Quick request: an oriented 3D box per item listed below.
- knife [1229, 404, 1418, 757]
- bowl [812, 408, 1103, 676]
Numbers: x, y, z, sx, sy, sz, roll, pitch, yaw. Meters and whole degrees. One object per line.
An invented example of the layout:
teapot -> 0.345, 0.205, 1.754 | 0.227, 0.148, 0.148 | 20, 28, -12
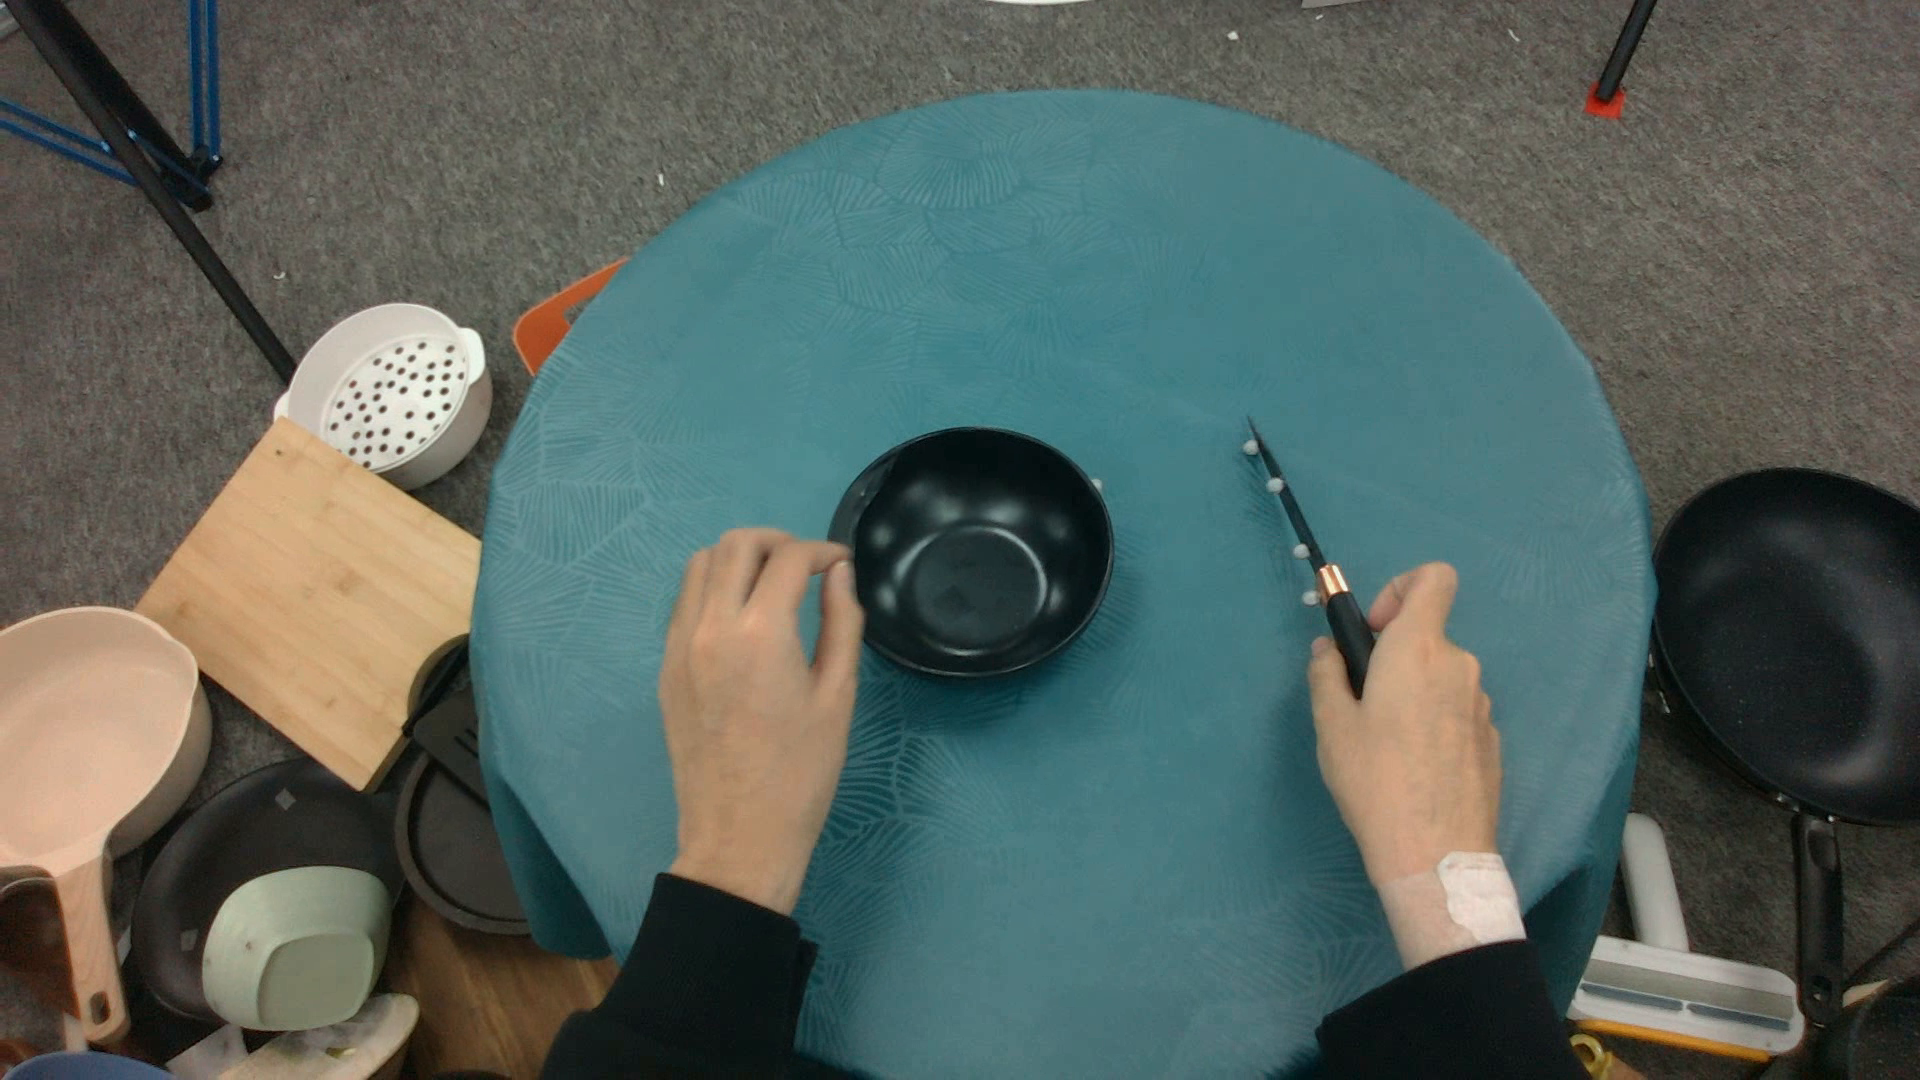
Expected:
knife -> 0.169, 0.009, 0.664 | 0.017, 0.026, 0.226 | -8, 51, -8
bowl -> -0.001, 0.007, 0.675 | 0.140, 0.049, 0.140 | -1, 65, 2
